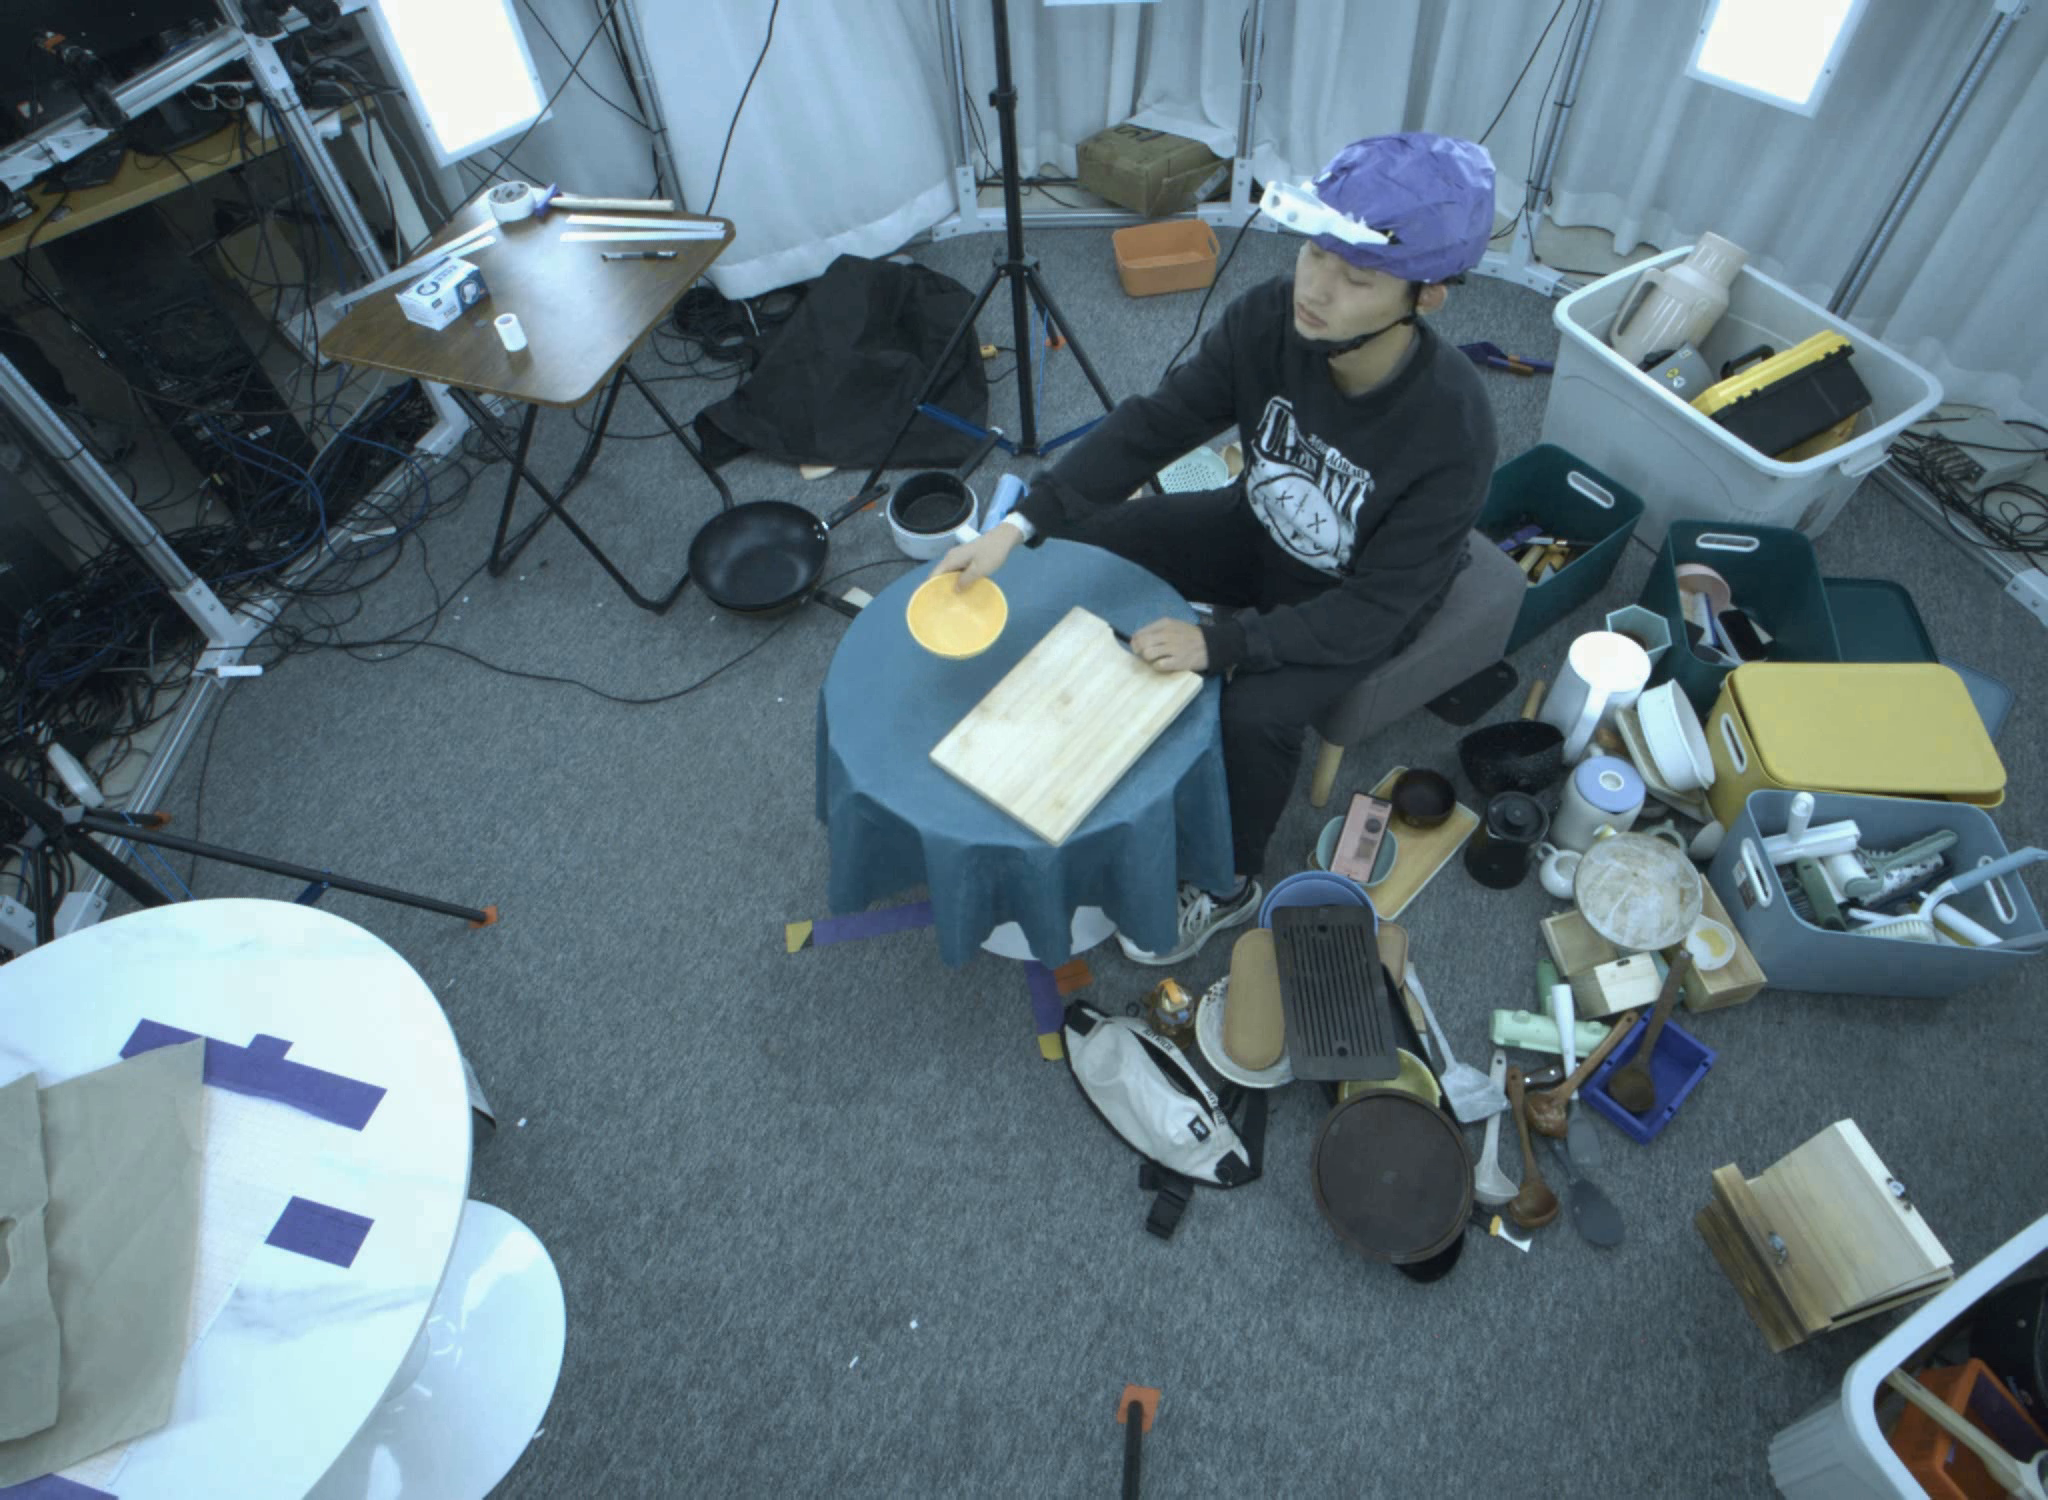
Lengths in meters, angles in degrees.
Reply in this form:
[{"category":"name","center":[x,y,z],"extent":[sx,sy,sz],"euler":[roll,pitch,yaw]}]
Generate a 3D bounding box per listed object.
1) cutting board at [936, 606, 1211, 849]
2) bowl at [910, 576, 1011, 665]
[{"category":"cutting board","center":[0.072,-0.043,1.799],"extent":[0.246,0.024,0.350],"euler":[33,67,22]},{"category":"bowl","center":[-0.092,-0.177,1.778],"extent":[0.145,0.060,0.144],"euler":[1,63,-2]}]
